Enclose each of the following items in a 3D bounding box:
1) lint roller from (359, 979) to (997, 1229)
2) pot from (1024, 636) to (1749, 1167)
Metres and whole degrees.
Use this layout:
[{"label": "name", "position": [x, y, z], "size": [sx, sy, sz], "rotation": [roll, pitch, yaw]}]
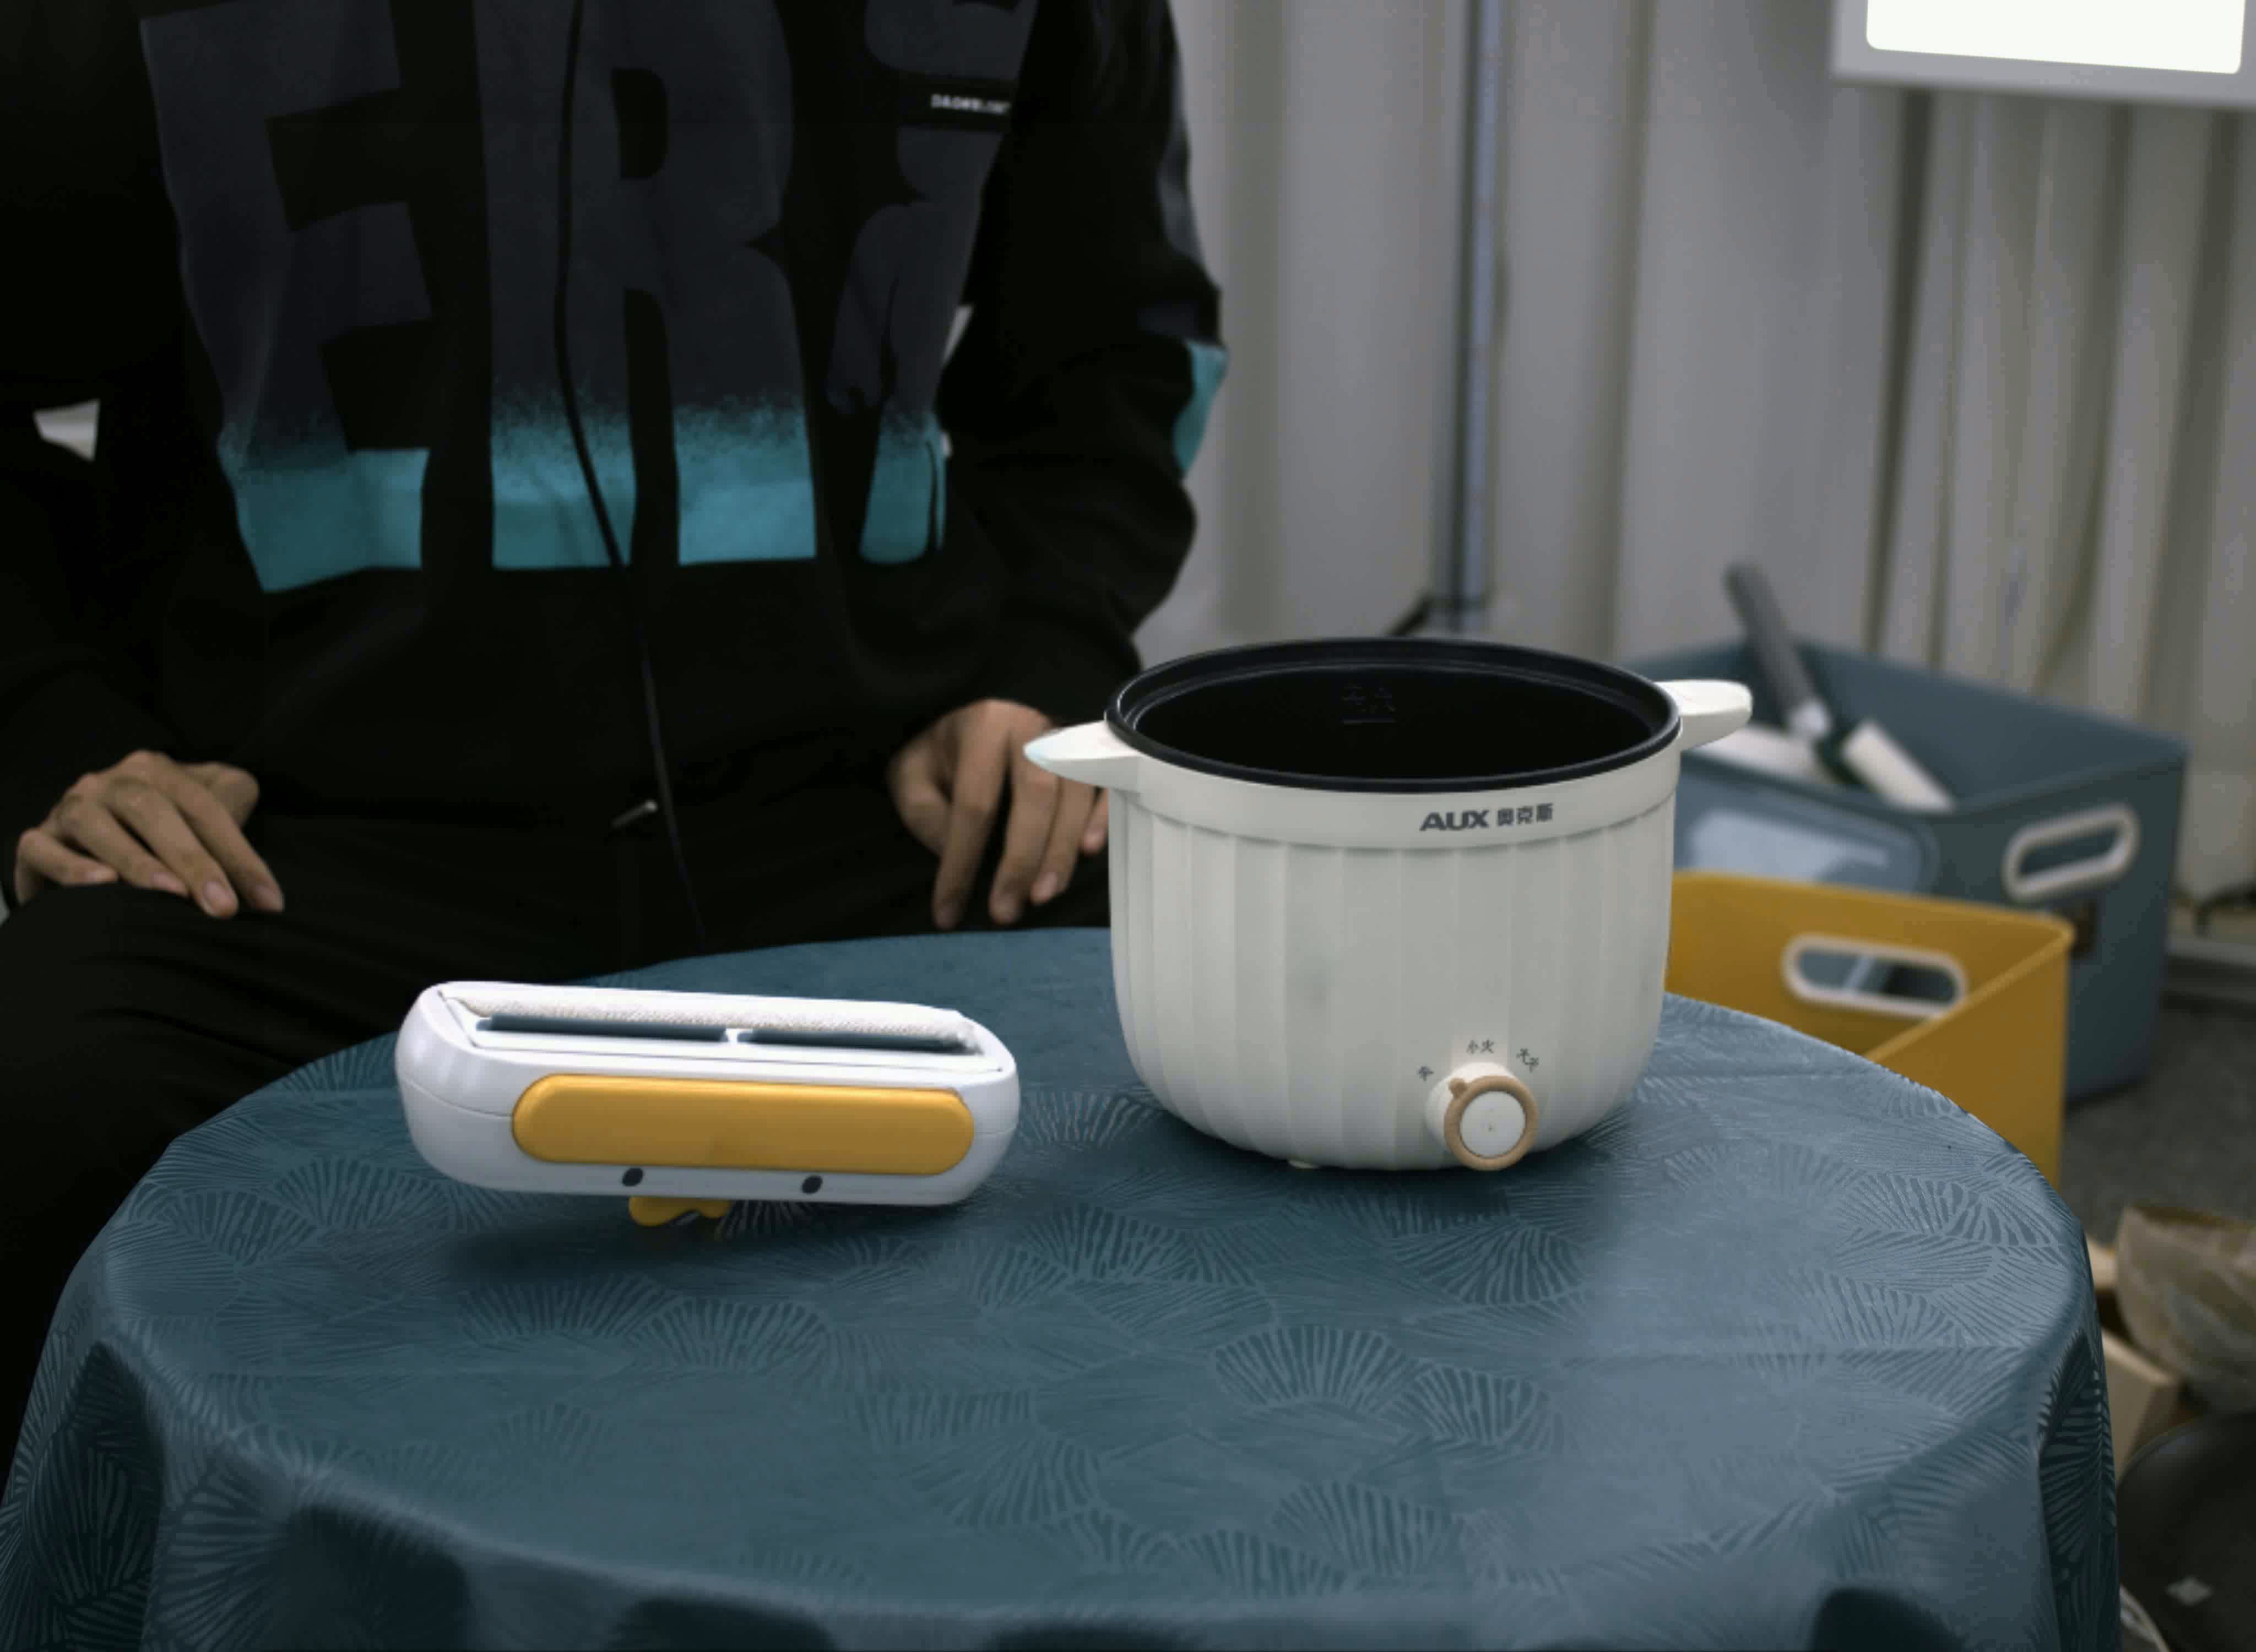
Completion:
[{"label": "lint roller", "position": [-0.153, 0.074, 1.627], "size": [0.193, 0.074, 0.190], "rotation": [0, 13, -22]}, {"label": "pot", "position": [0.086, 0.027, 1.668], "size": [0.241, 0.144, 0.188], "rotation": [-6, 14, -16]}]
